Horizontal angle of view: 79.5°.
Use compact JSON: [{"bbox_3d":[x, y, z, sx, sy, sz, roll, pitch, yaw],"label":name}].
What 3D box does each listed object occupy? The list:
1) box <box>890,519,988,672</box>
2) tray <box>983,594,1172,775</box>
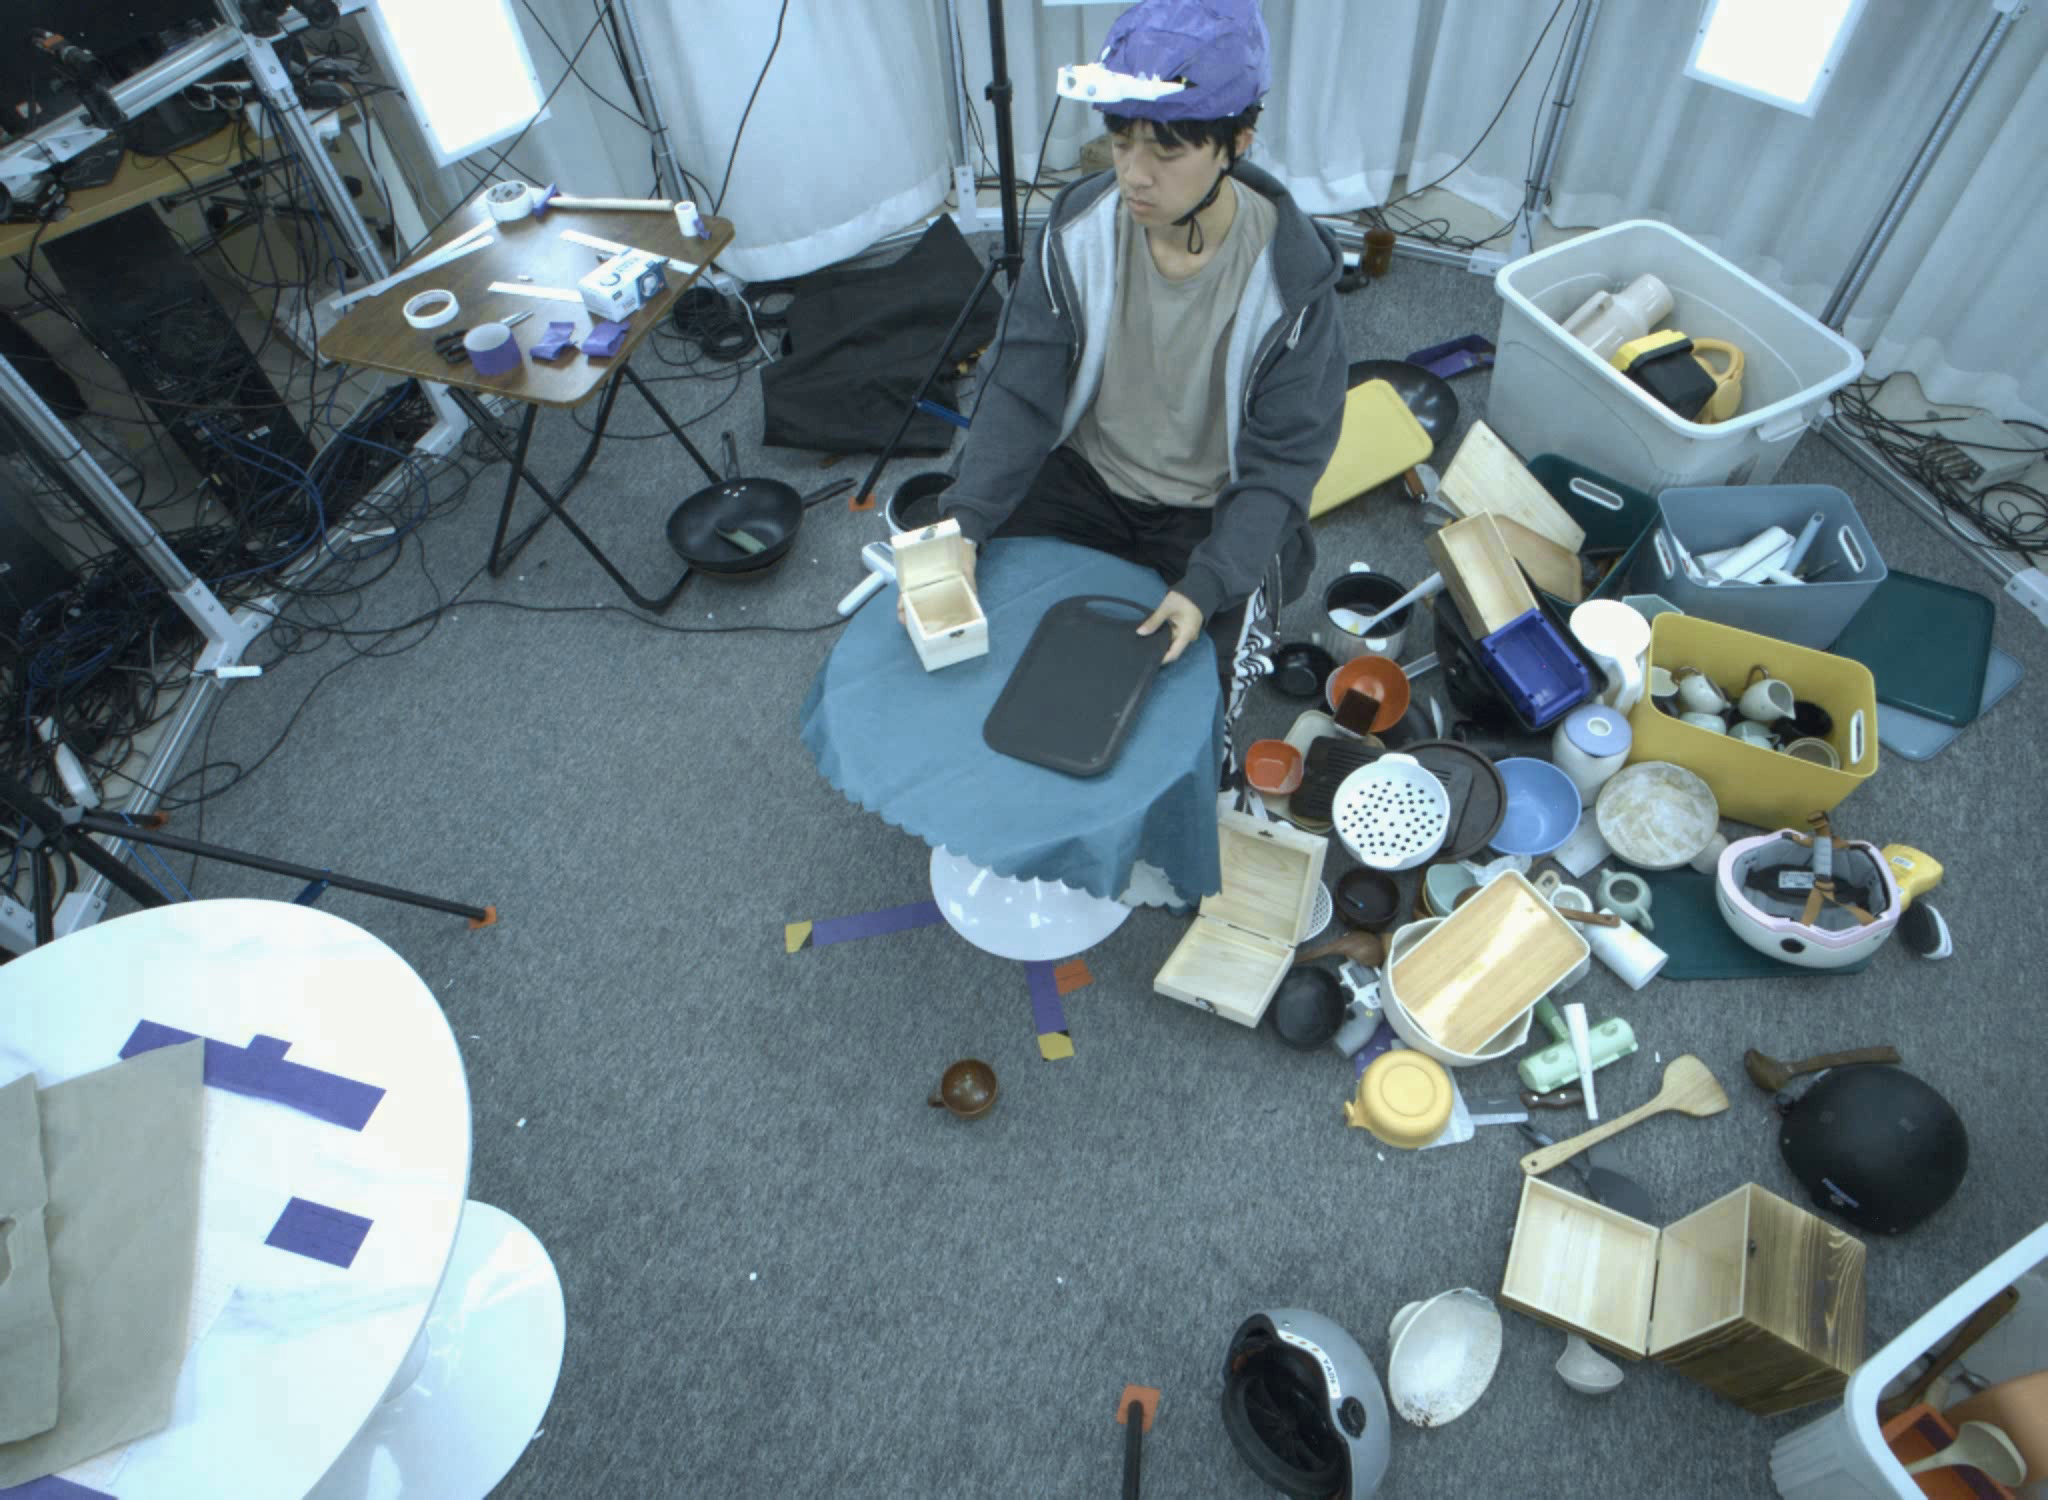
[{"bbox_3d":[-0.126,-0.231,1.837,0.103,0.186,0.131,-20,57,-13],"label":"box"},{"bbox_3d":[0.085,-0.111,1.841,0.208,0.010,0.325,17,61,19],"label":"tray"}]
